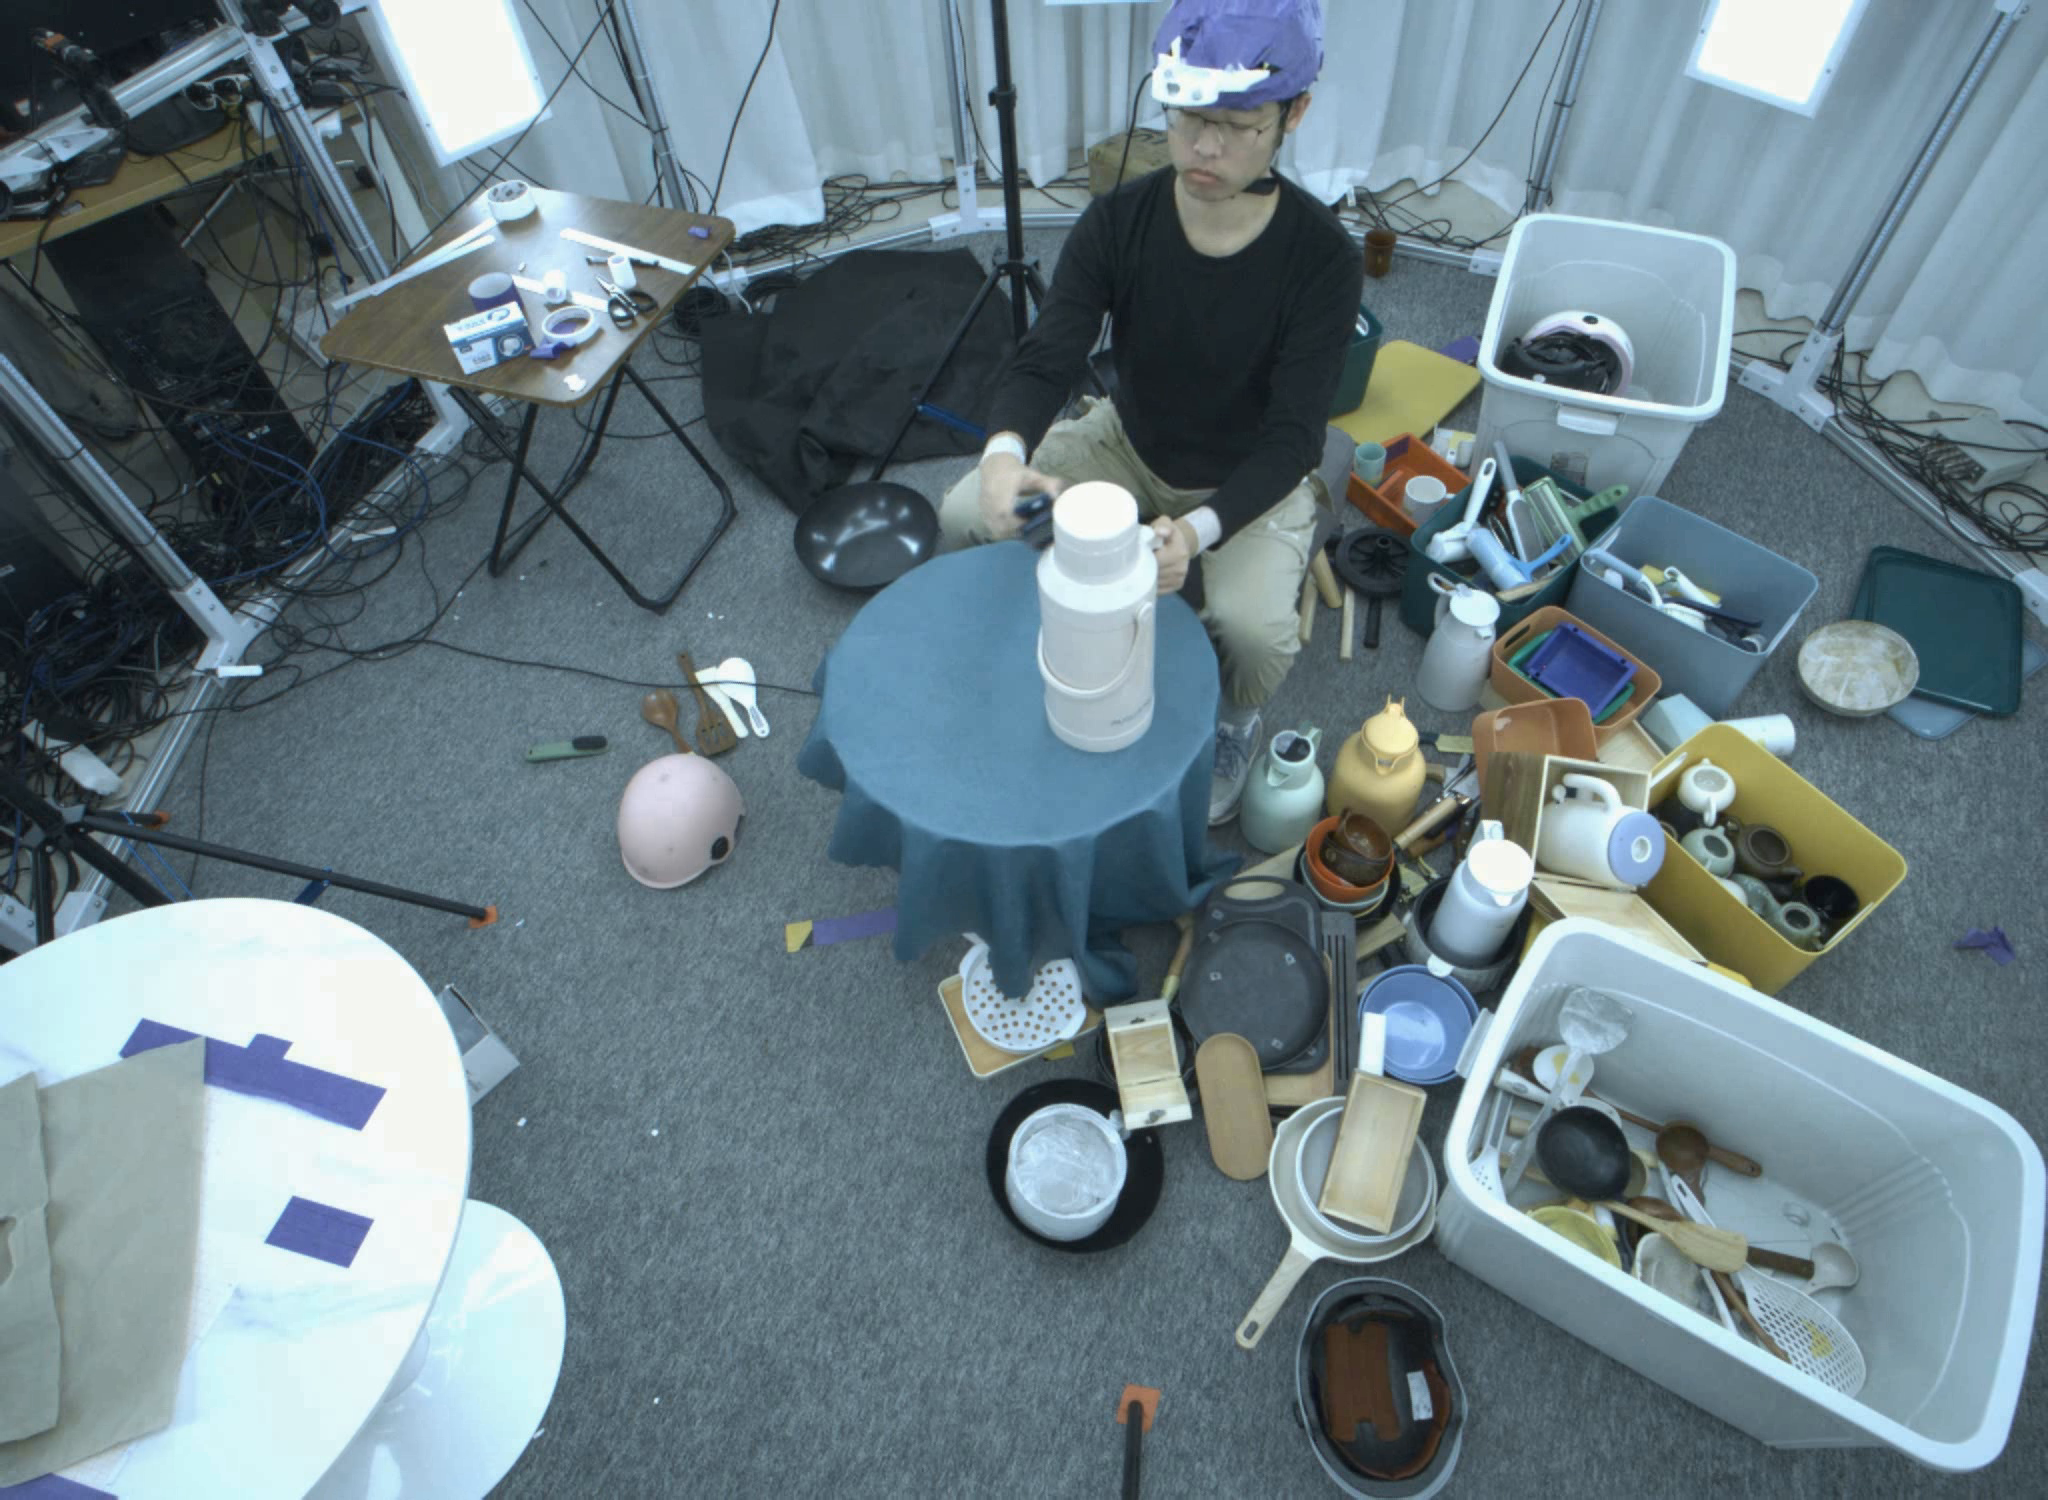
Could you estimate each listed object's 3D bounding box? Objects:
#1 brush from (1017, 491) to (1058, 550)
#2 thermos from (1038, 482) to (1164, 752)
[{"bbox_3d":[0.027,-0.301,1.625,0.068,0.121,0.061,-24,92,3],"label":"brush"},{"bbox_3d":[0.113,-0.184,1.669,0.172,0.411,0.208,36,65,27],"label":"thermos"}]
